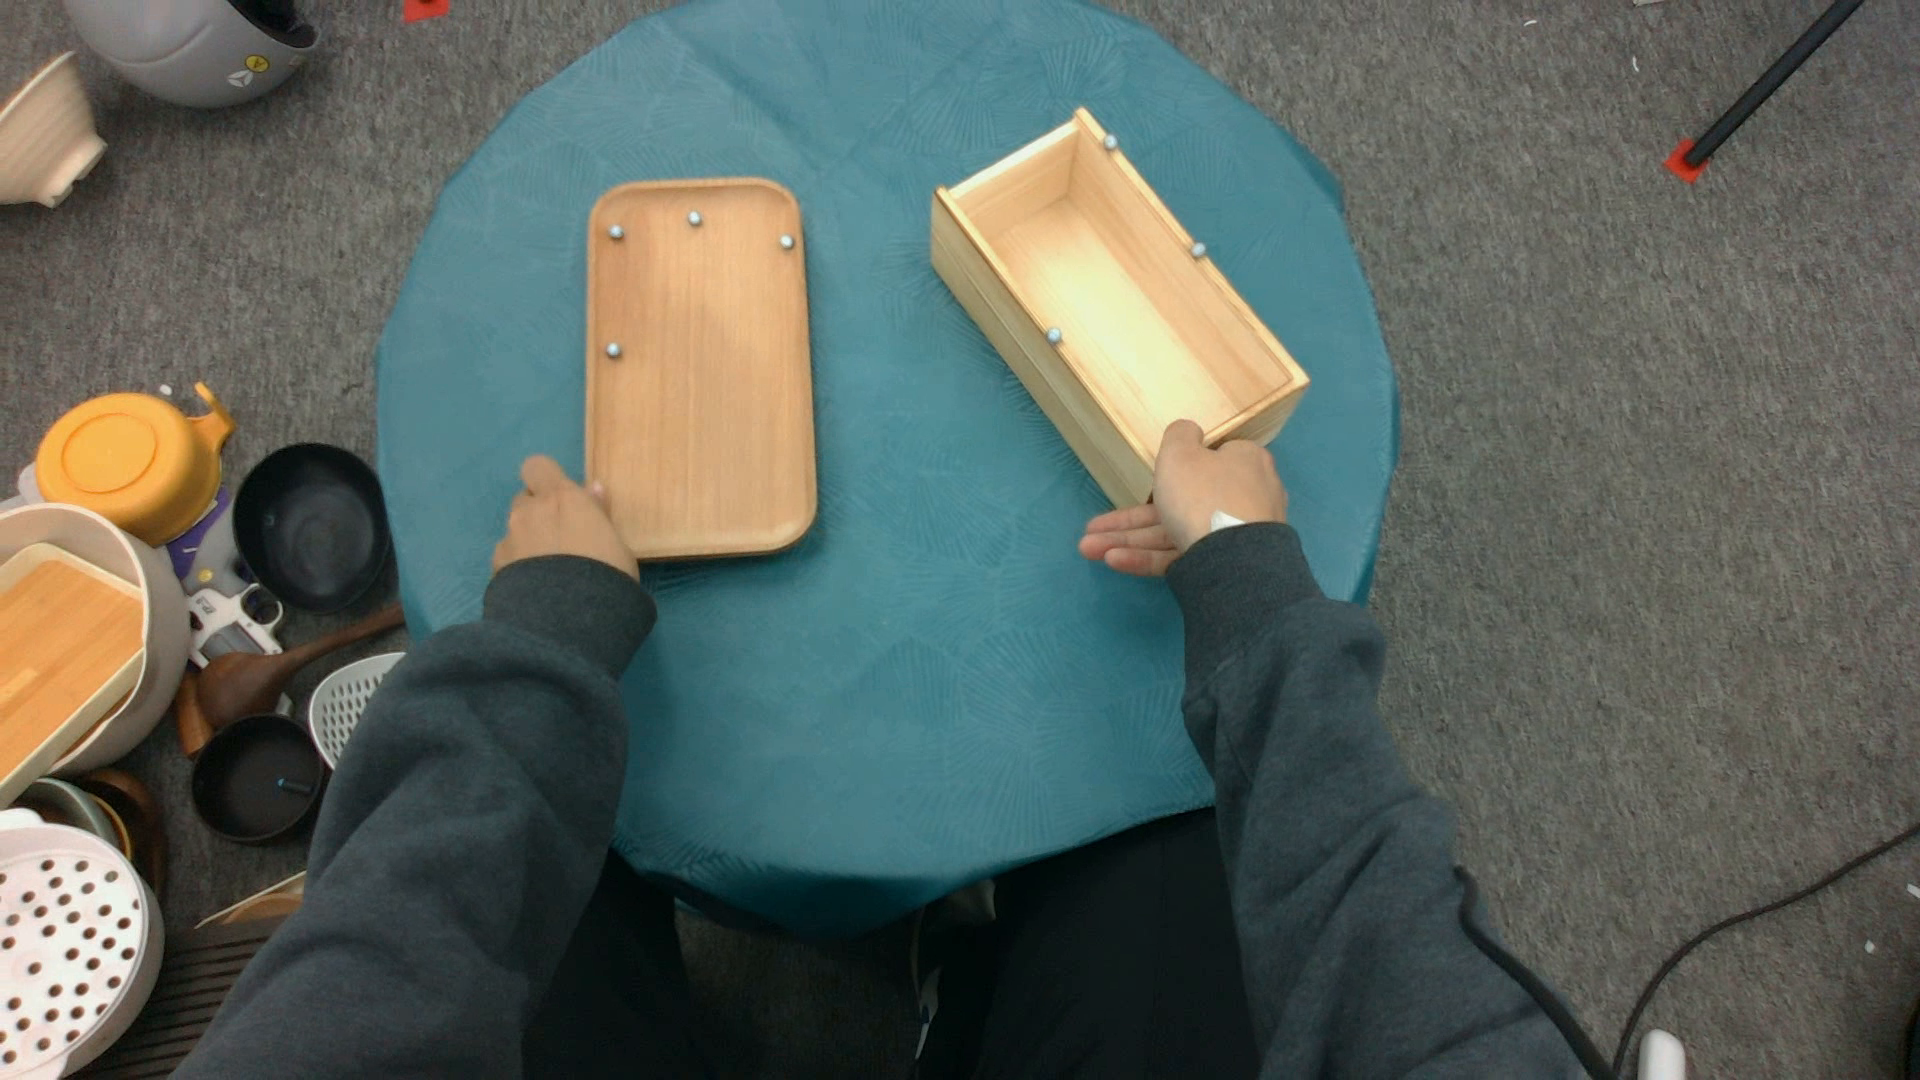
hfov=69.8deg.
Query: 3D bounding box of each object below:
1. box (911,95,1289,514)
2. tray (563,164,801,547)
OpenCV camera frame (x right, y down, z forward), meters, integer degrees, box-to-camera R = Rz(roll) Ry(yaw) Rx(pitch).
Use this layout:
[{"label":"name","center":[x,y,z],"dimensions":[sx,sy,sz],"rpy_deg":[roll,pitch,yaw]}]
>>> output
[{"label":"box","center":[0.074,-0.136,0.794],"dimensions":[0.108,0.080,0.211],"rpy_deg":[-33,75,-14]},{"label":"tray","center":[-0.161,-0.112,0.795],"dimensions":[0.130,0.023,0.251],"rpy_deg":[-5,66,-3]}]
